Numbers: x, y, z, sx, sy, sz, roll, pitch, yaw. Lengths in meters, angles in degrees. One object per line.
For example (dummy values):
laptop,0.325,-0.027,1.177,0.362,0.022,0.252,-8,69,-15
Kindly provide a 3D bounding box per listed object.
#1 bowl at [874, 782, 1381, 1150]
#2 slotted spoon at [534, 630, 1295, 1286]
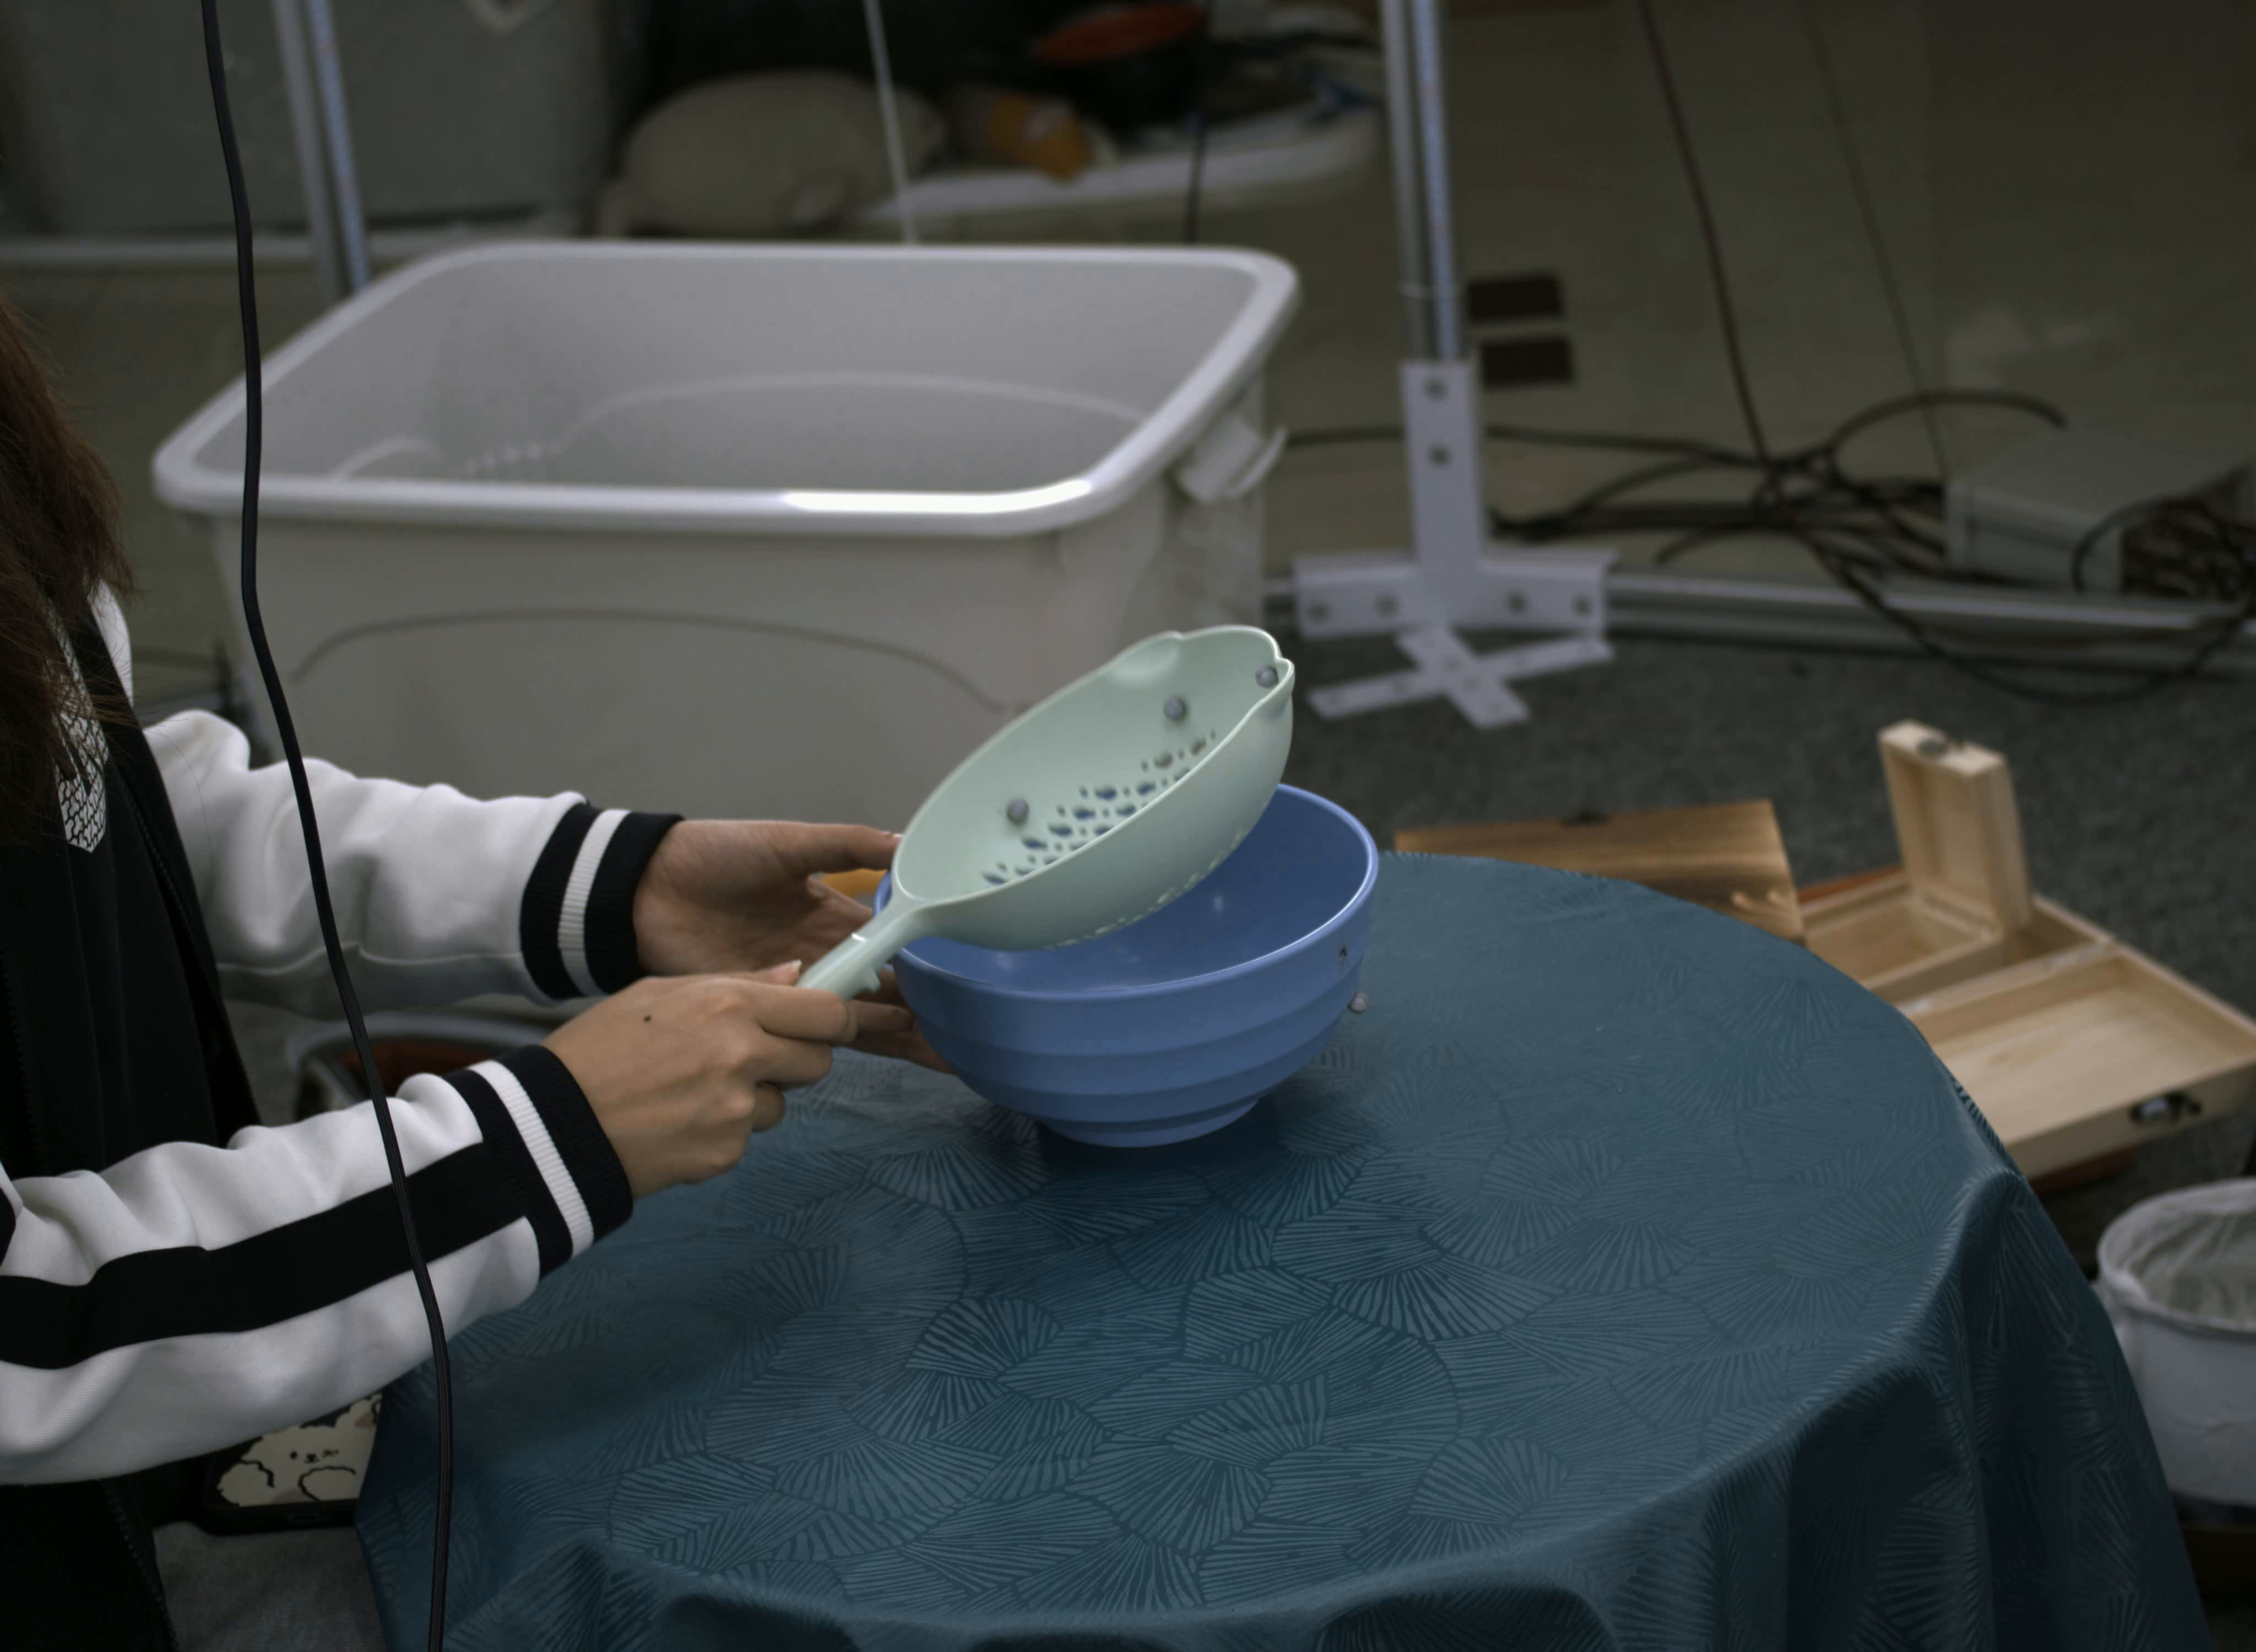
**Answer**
bowl,0.004,0.063,2.198,0.196,0.097,0.193,-6,26,3
slotted spoon,-0.083,0.047,2.101,0.357,0.076,0.168,-31,17,-16
